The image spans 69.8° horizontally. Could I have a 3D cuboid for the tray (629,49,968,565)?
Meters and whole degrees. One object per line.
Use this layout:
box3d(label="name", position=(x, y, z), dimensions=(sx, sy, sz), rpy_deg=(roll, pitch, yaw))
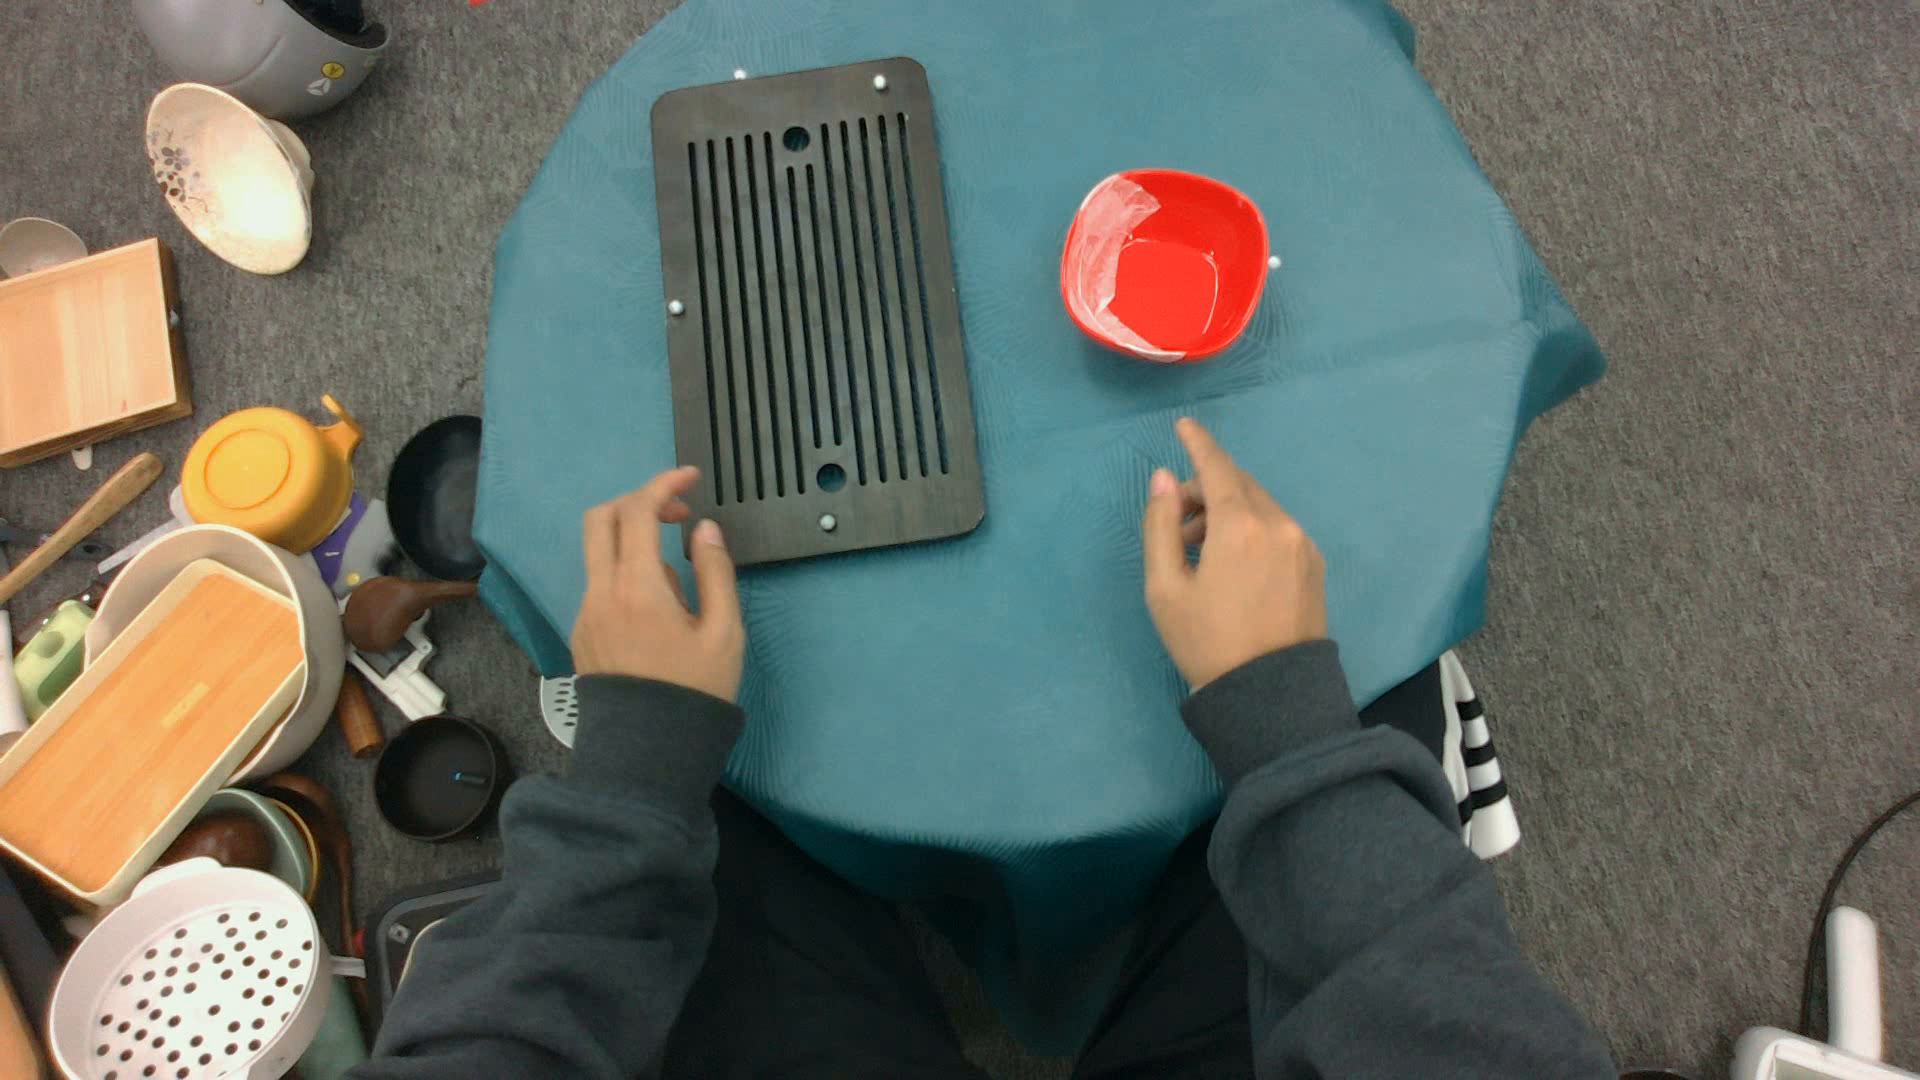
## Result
box3d(label="tray", position=(-0.097, -0.141, 0.799), dimensions=(0.170, 0.018, 0.306), rpy_deg=(-8, 74, 1))

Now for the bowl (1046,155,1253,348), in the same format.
box3d(label="bowl", position=(0.104, -0.153, 0.770), dimensions=(0.119, 0.051, 0.119), rpy_deg=(-1, 73, 3))
